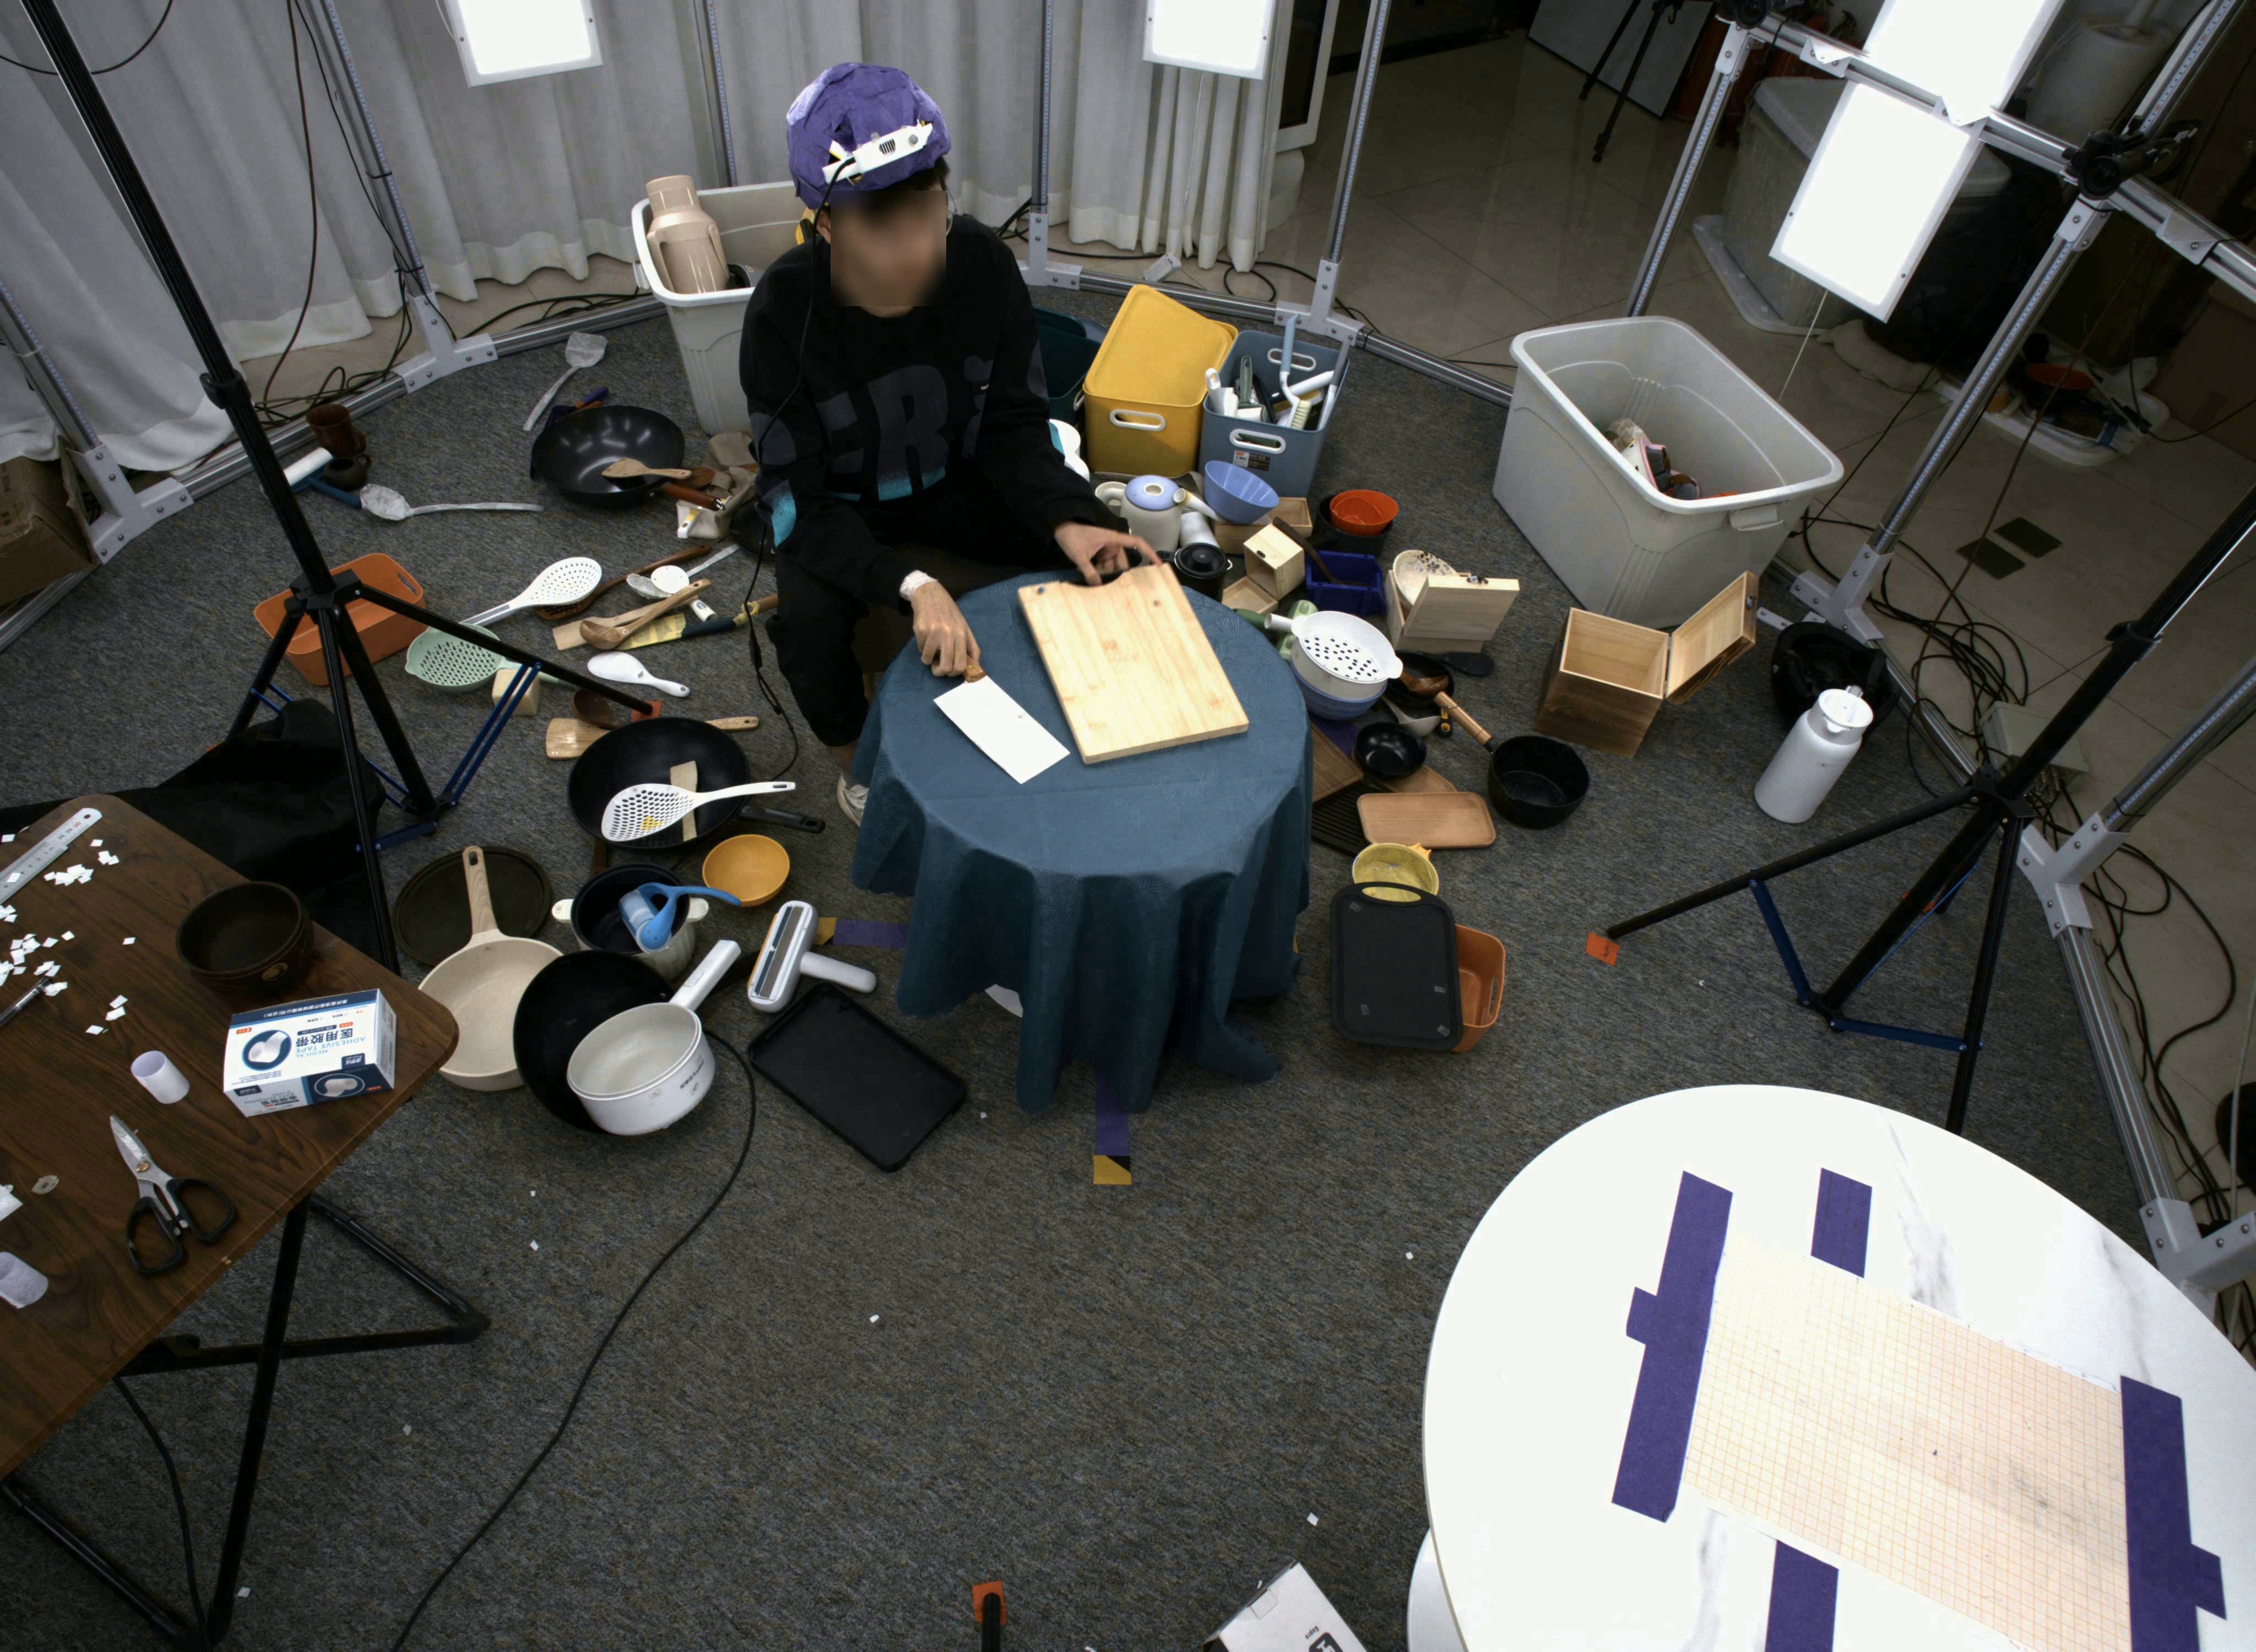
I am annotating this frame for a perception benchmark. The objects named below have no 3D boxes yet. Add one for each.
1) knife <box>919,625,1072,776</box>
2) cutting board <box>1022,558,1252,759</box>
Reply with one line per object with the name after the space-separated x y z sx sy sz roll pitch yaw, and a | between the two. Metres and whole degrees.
-0.207 -0.174 1.791 0.093 0.020 0.310 -33 62 -28 | knife
0.007 -0.250 1.864 0.251 0.023 0.357 -13 54 -14 | cutting board
